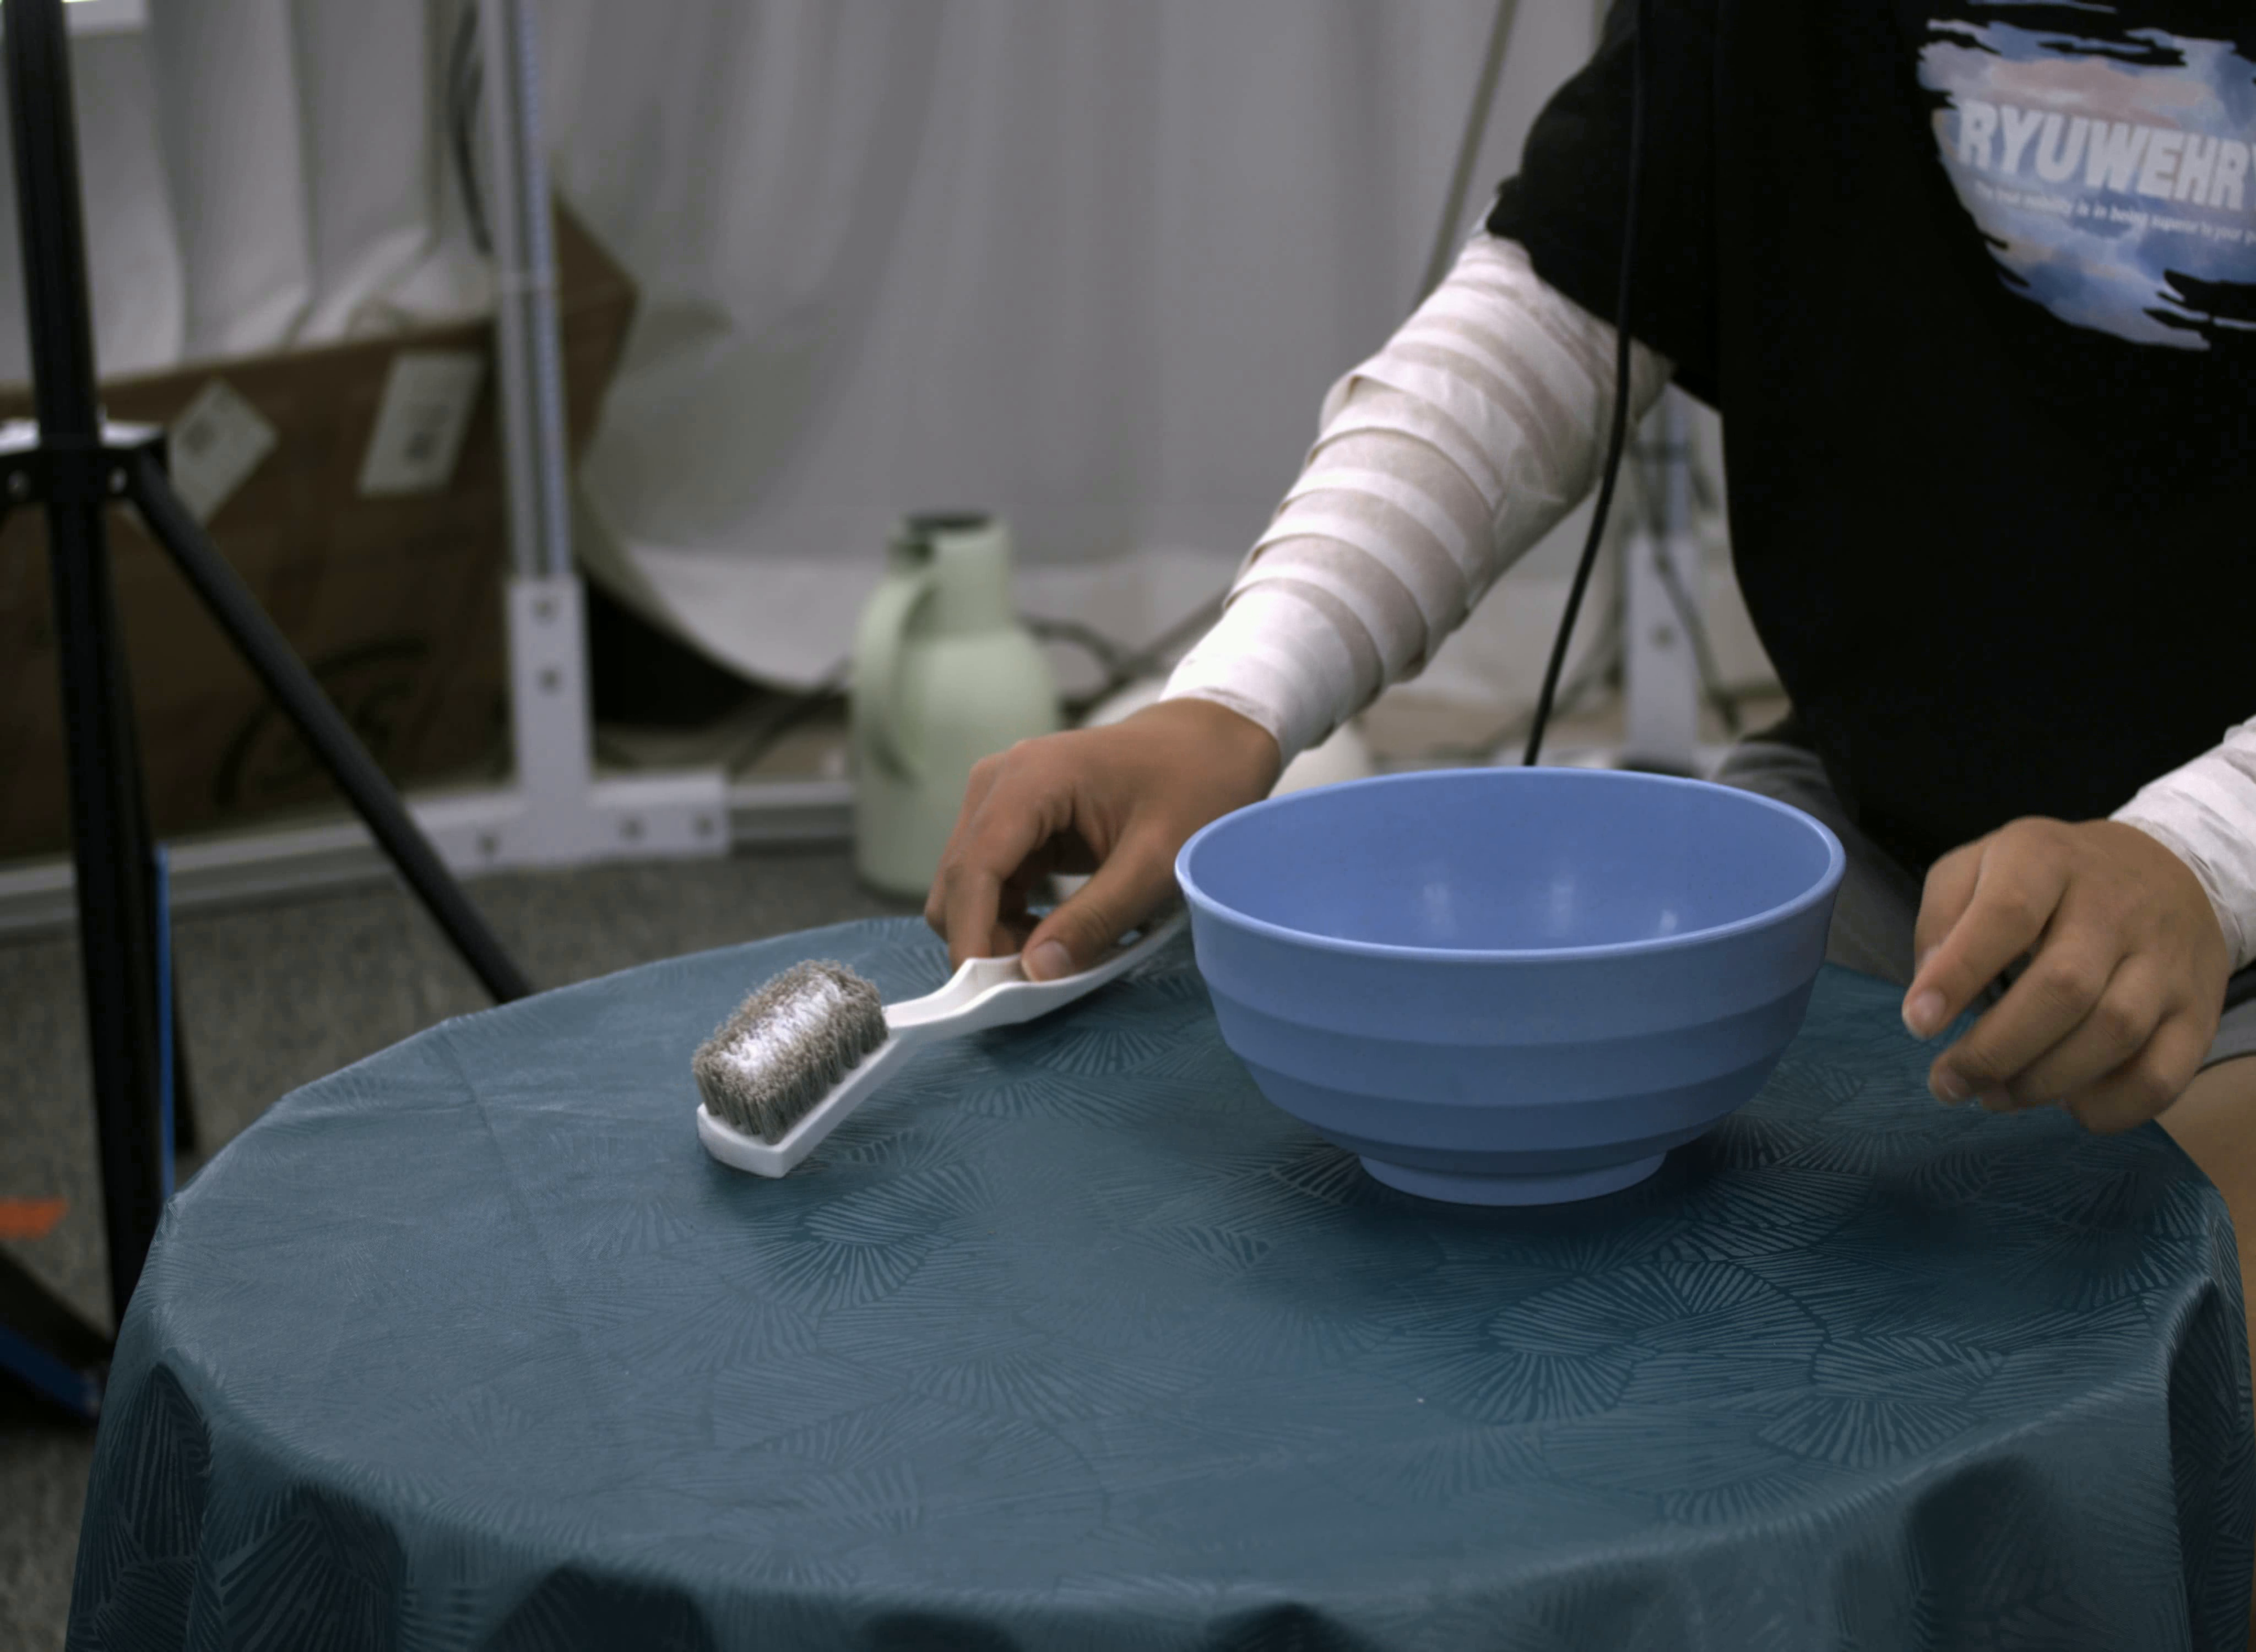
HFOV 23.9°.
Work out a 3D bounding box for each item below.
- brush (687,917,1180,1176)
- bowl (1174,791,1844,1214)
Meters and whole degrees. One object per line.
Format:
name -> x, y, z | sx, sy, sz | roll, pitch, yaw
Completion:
brush -> -0.054, 0.050, 1.665 | 0.035, 0.050, 0.239 | 25, 30, 29
bowl -> 0.113, 0.056, 1.564 | 0.195, 0.095, 0.197 | -2, 13, -1
